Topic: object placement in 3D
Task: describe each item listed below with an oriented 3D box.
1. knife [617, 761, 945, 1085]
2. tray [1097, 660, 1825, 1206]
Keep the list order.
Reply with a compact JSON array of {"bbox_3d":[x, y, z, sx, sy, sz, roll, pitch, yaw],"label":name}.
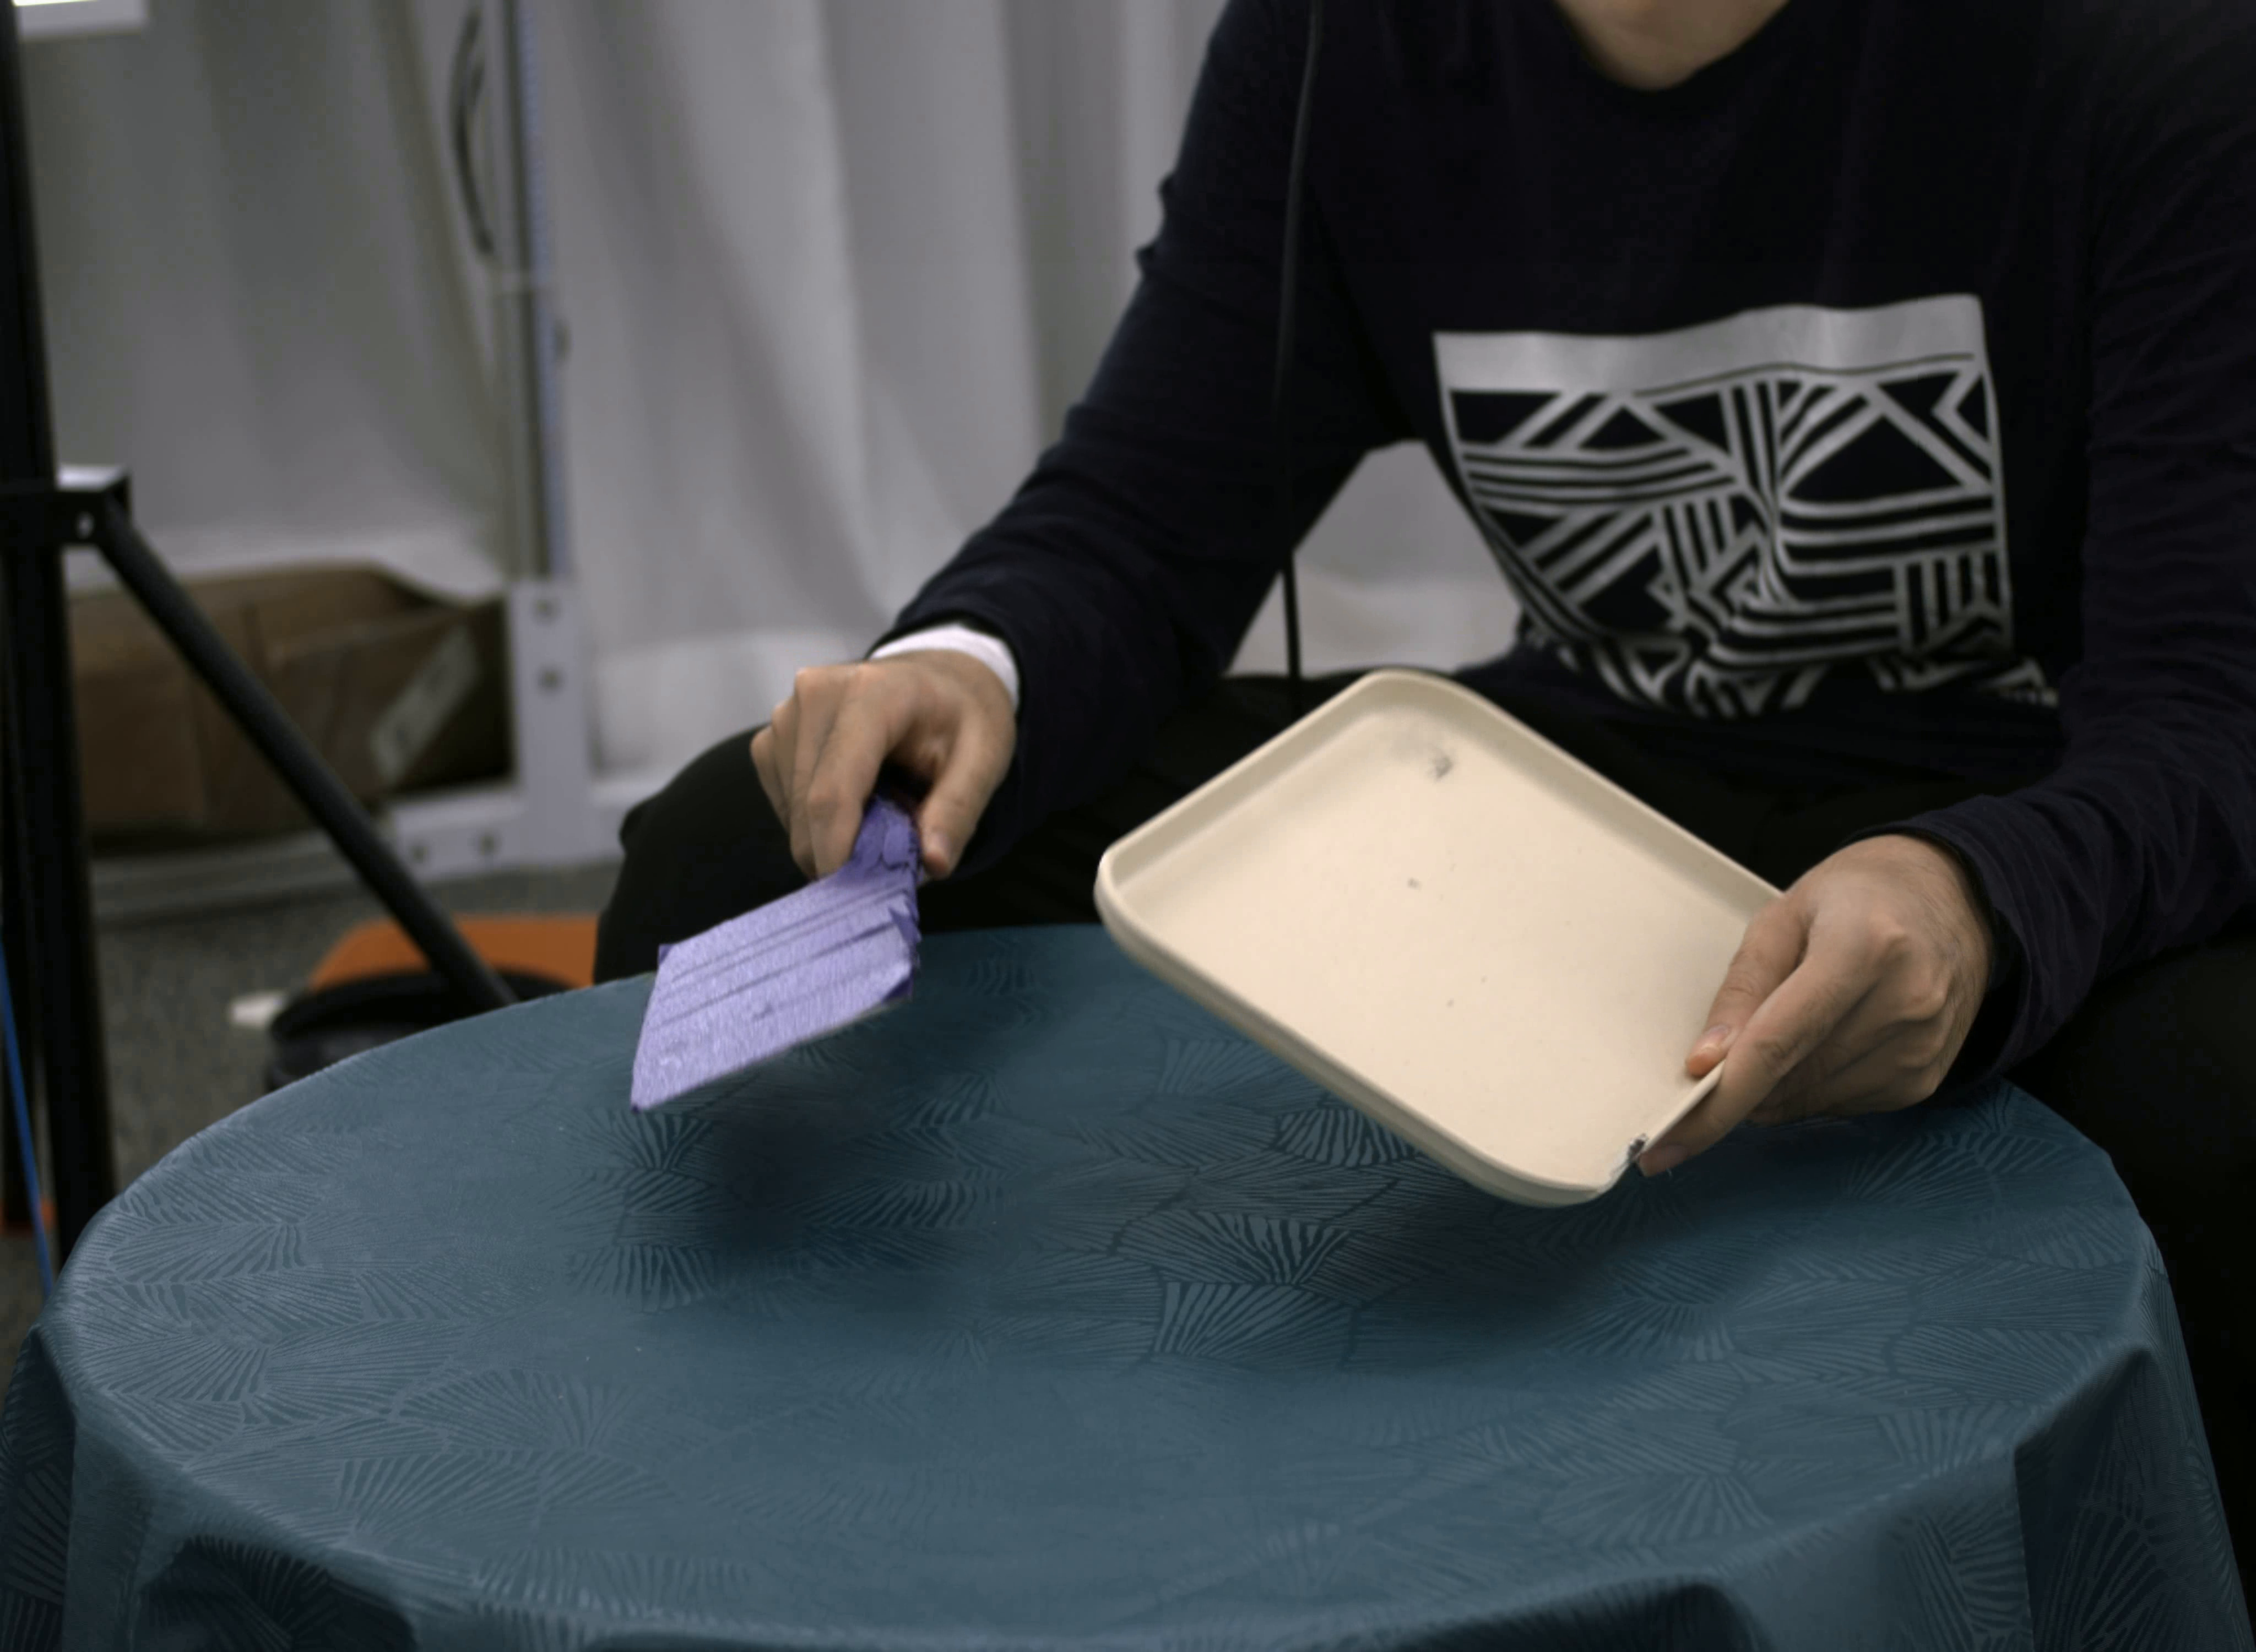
[{"bbox_3d":[-0.107,0.027,1.651,0.103,0.032,0.316,-22,9,2],"label":"knife"},{"bbox_3d":[0.099,0.029,1.535,0.173,0.017,0.236,34,29,15],"label":"tray"}]
